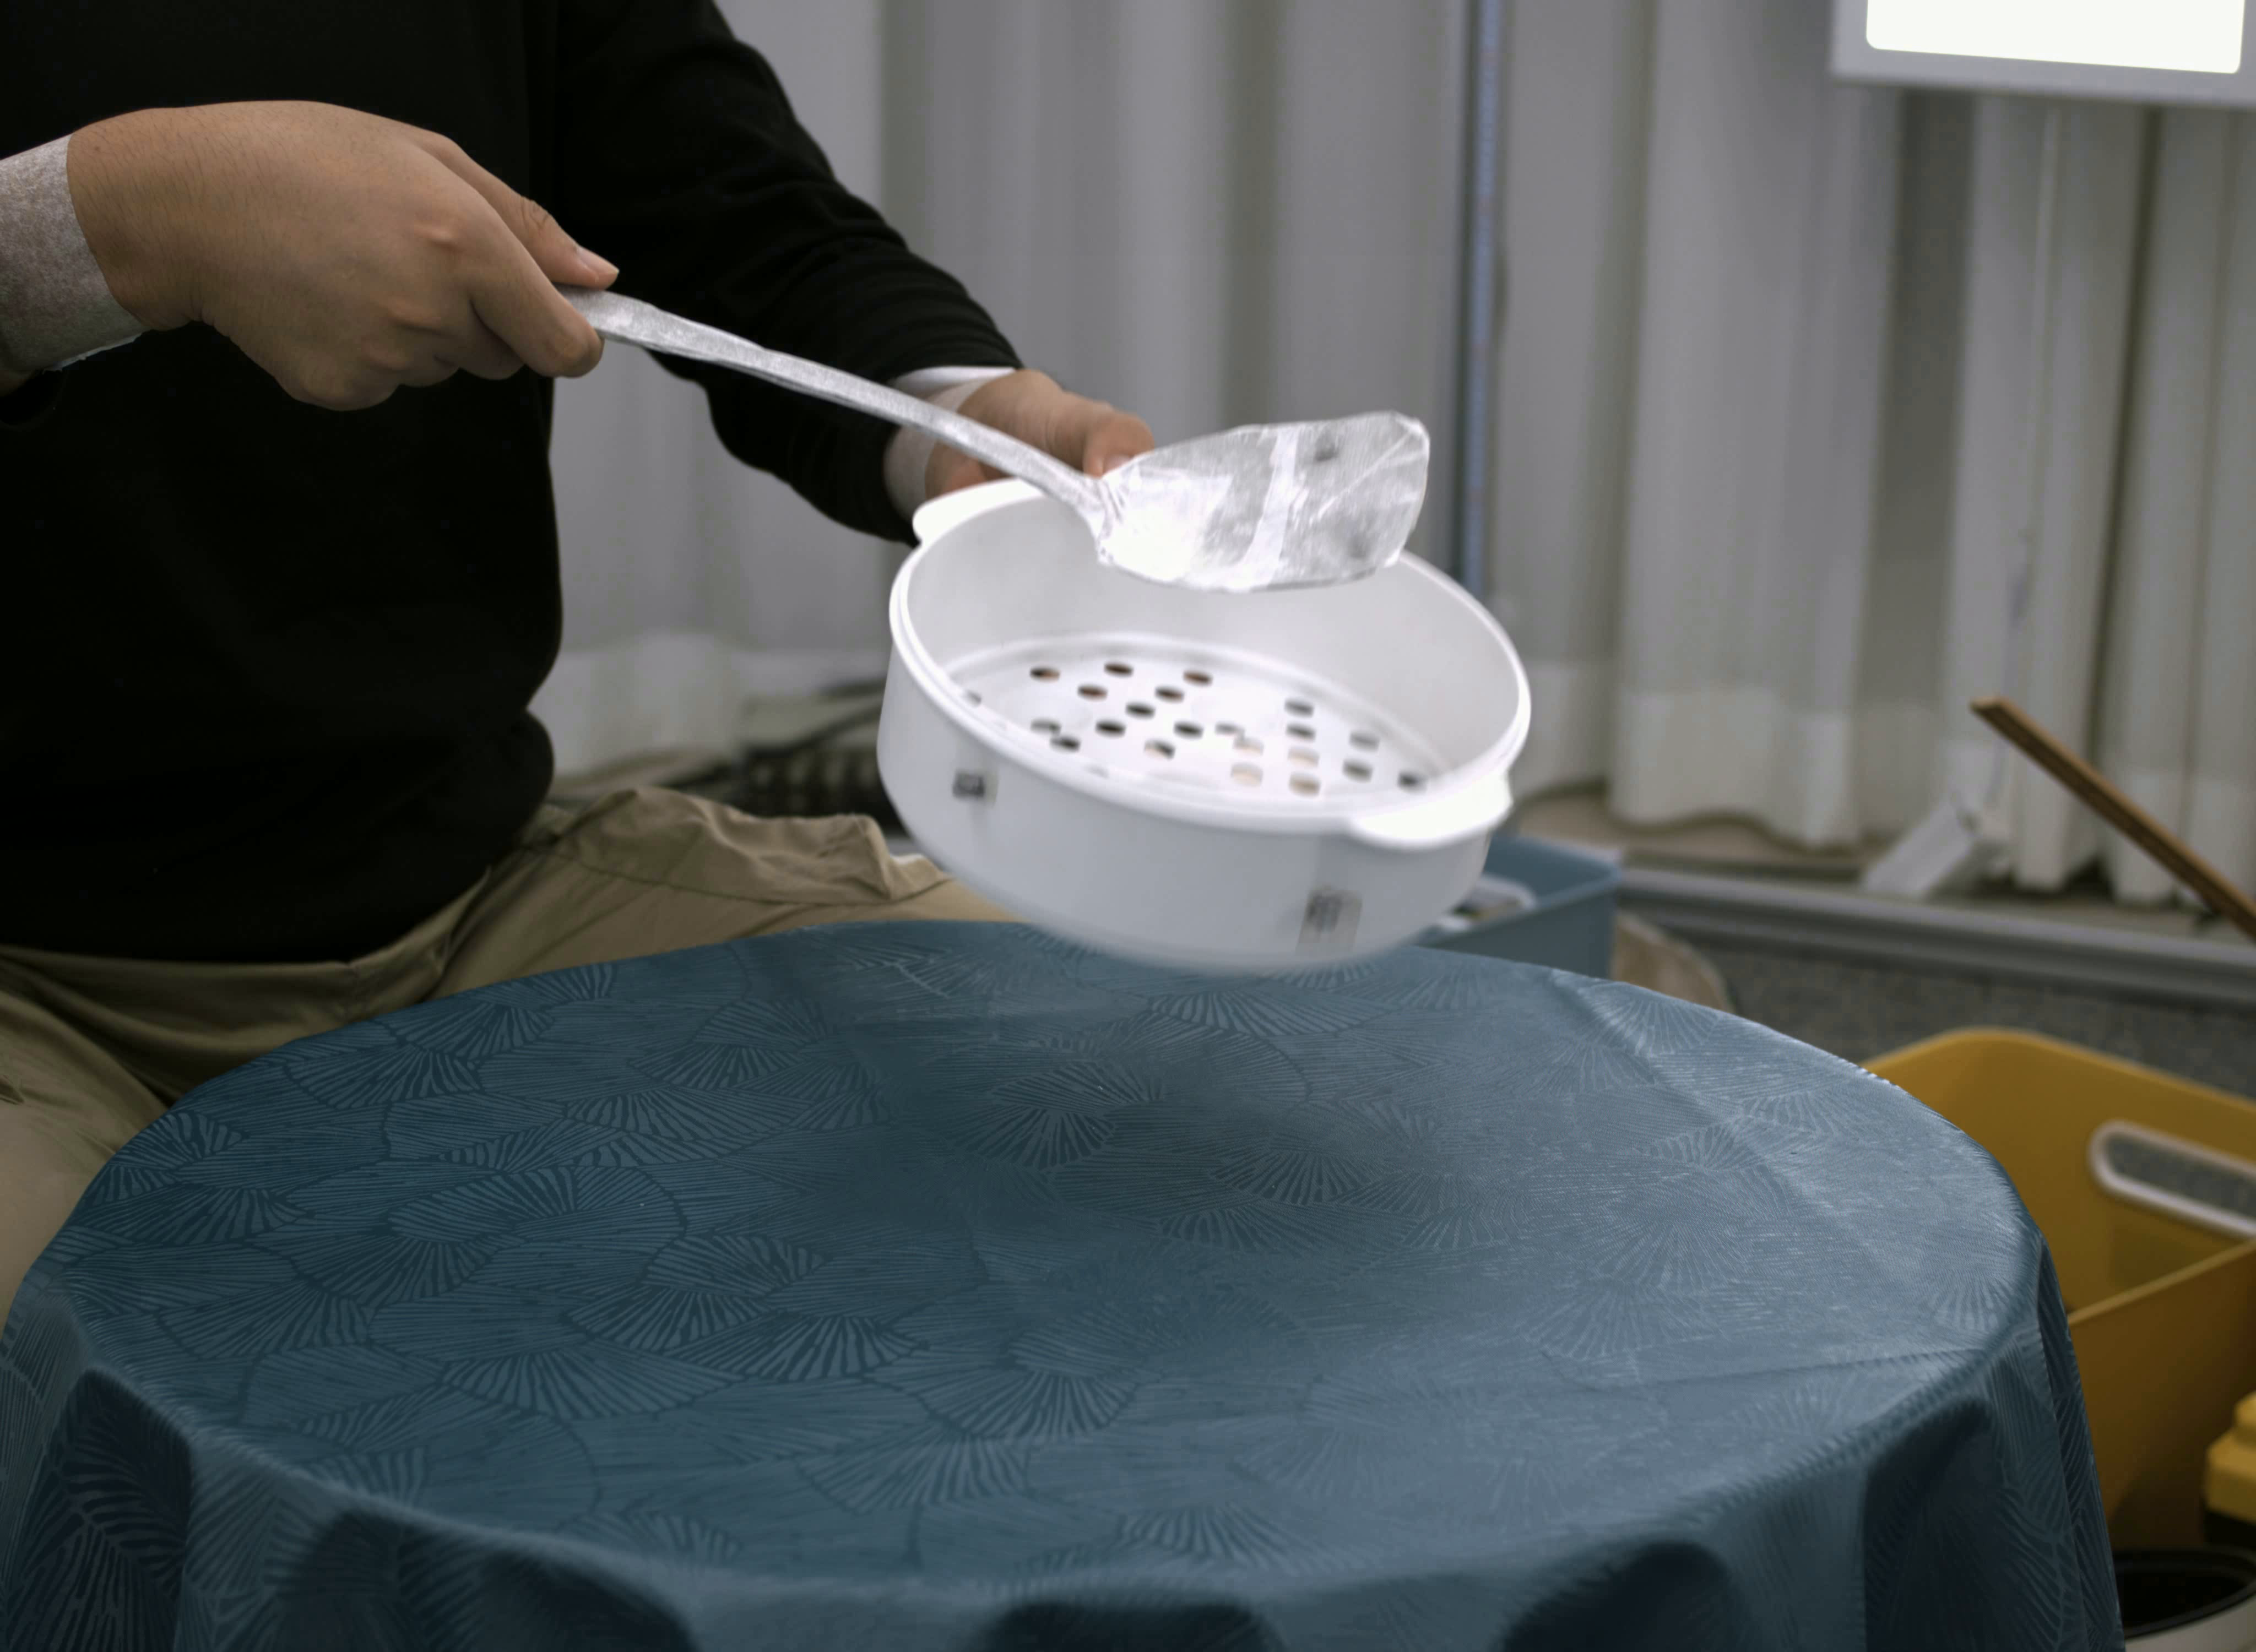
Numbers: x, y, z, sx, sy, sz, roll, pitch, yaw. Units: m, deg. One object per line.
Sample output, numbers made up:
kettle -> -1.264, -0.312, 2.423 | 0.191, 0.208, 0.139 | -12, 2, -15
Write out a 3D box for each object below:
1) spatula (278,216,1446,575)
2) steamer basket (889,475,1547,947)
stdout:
spatula -> -0.085, -0.140, 1.584 | 0.363, 0.045, 0.098 | 17, 40, 1
steamer basket -> 0.025, -0.035, 1.619 | 0.203, 0.070, 0.227 | -18, 39, -42
